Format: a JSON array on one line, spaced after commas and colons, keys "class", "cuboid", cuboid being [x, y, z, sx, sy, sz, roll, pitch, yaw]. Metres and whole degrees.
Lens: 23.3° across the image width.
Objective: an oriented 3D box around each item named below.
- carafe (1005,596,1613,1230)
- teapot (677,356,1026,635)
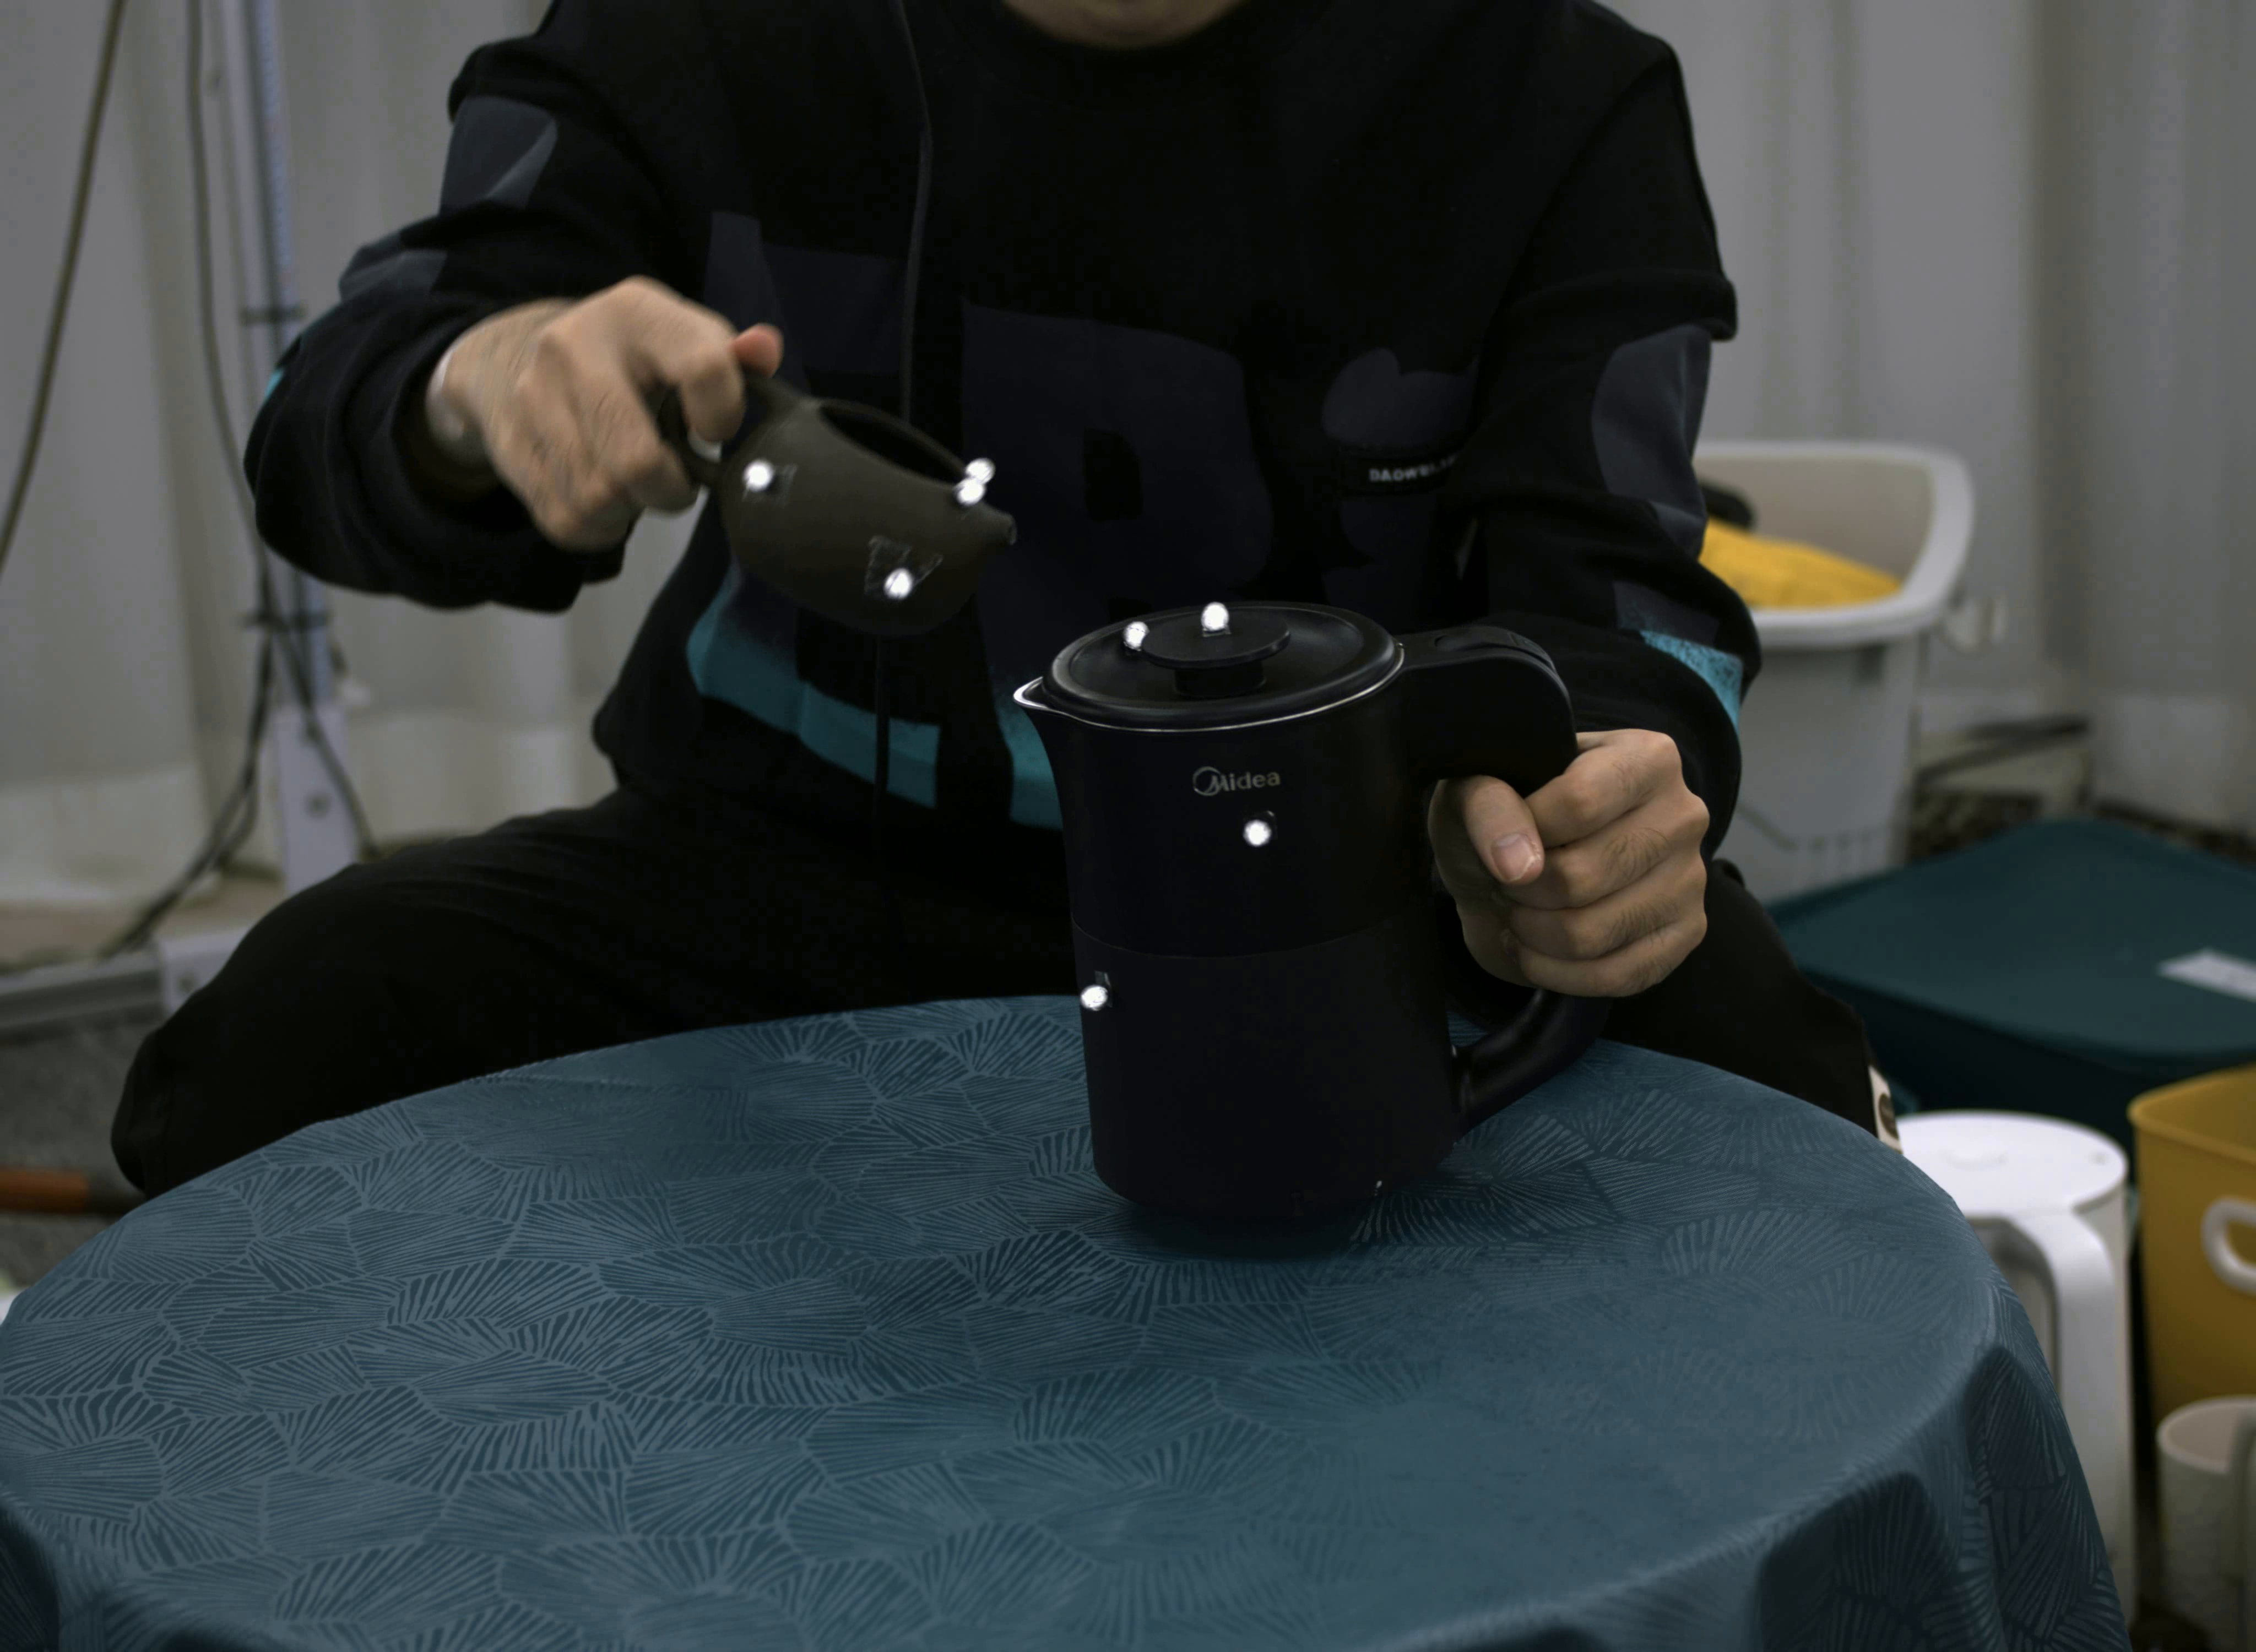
[{"class": "carafe", "cuboid": [0.058, 0.017, 1.663, 0.171, 0.172, 0.115, -10, 17, -3]}, {"class": "teapot", "cuboid": [-0.086, -0.100, 1.638, 0.114, 0.053, 0.083, 36, 16, 13]}]
